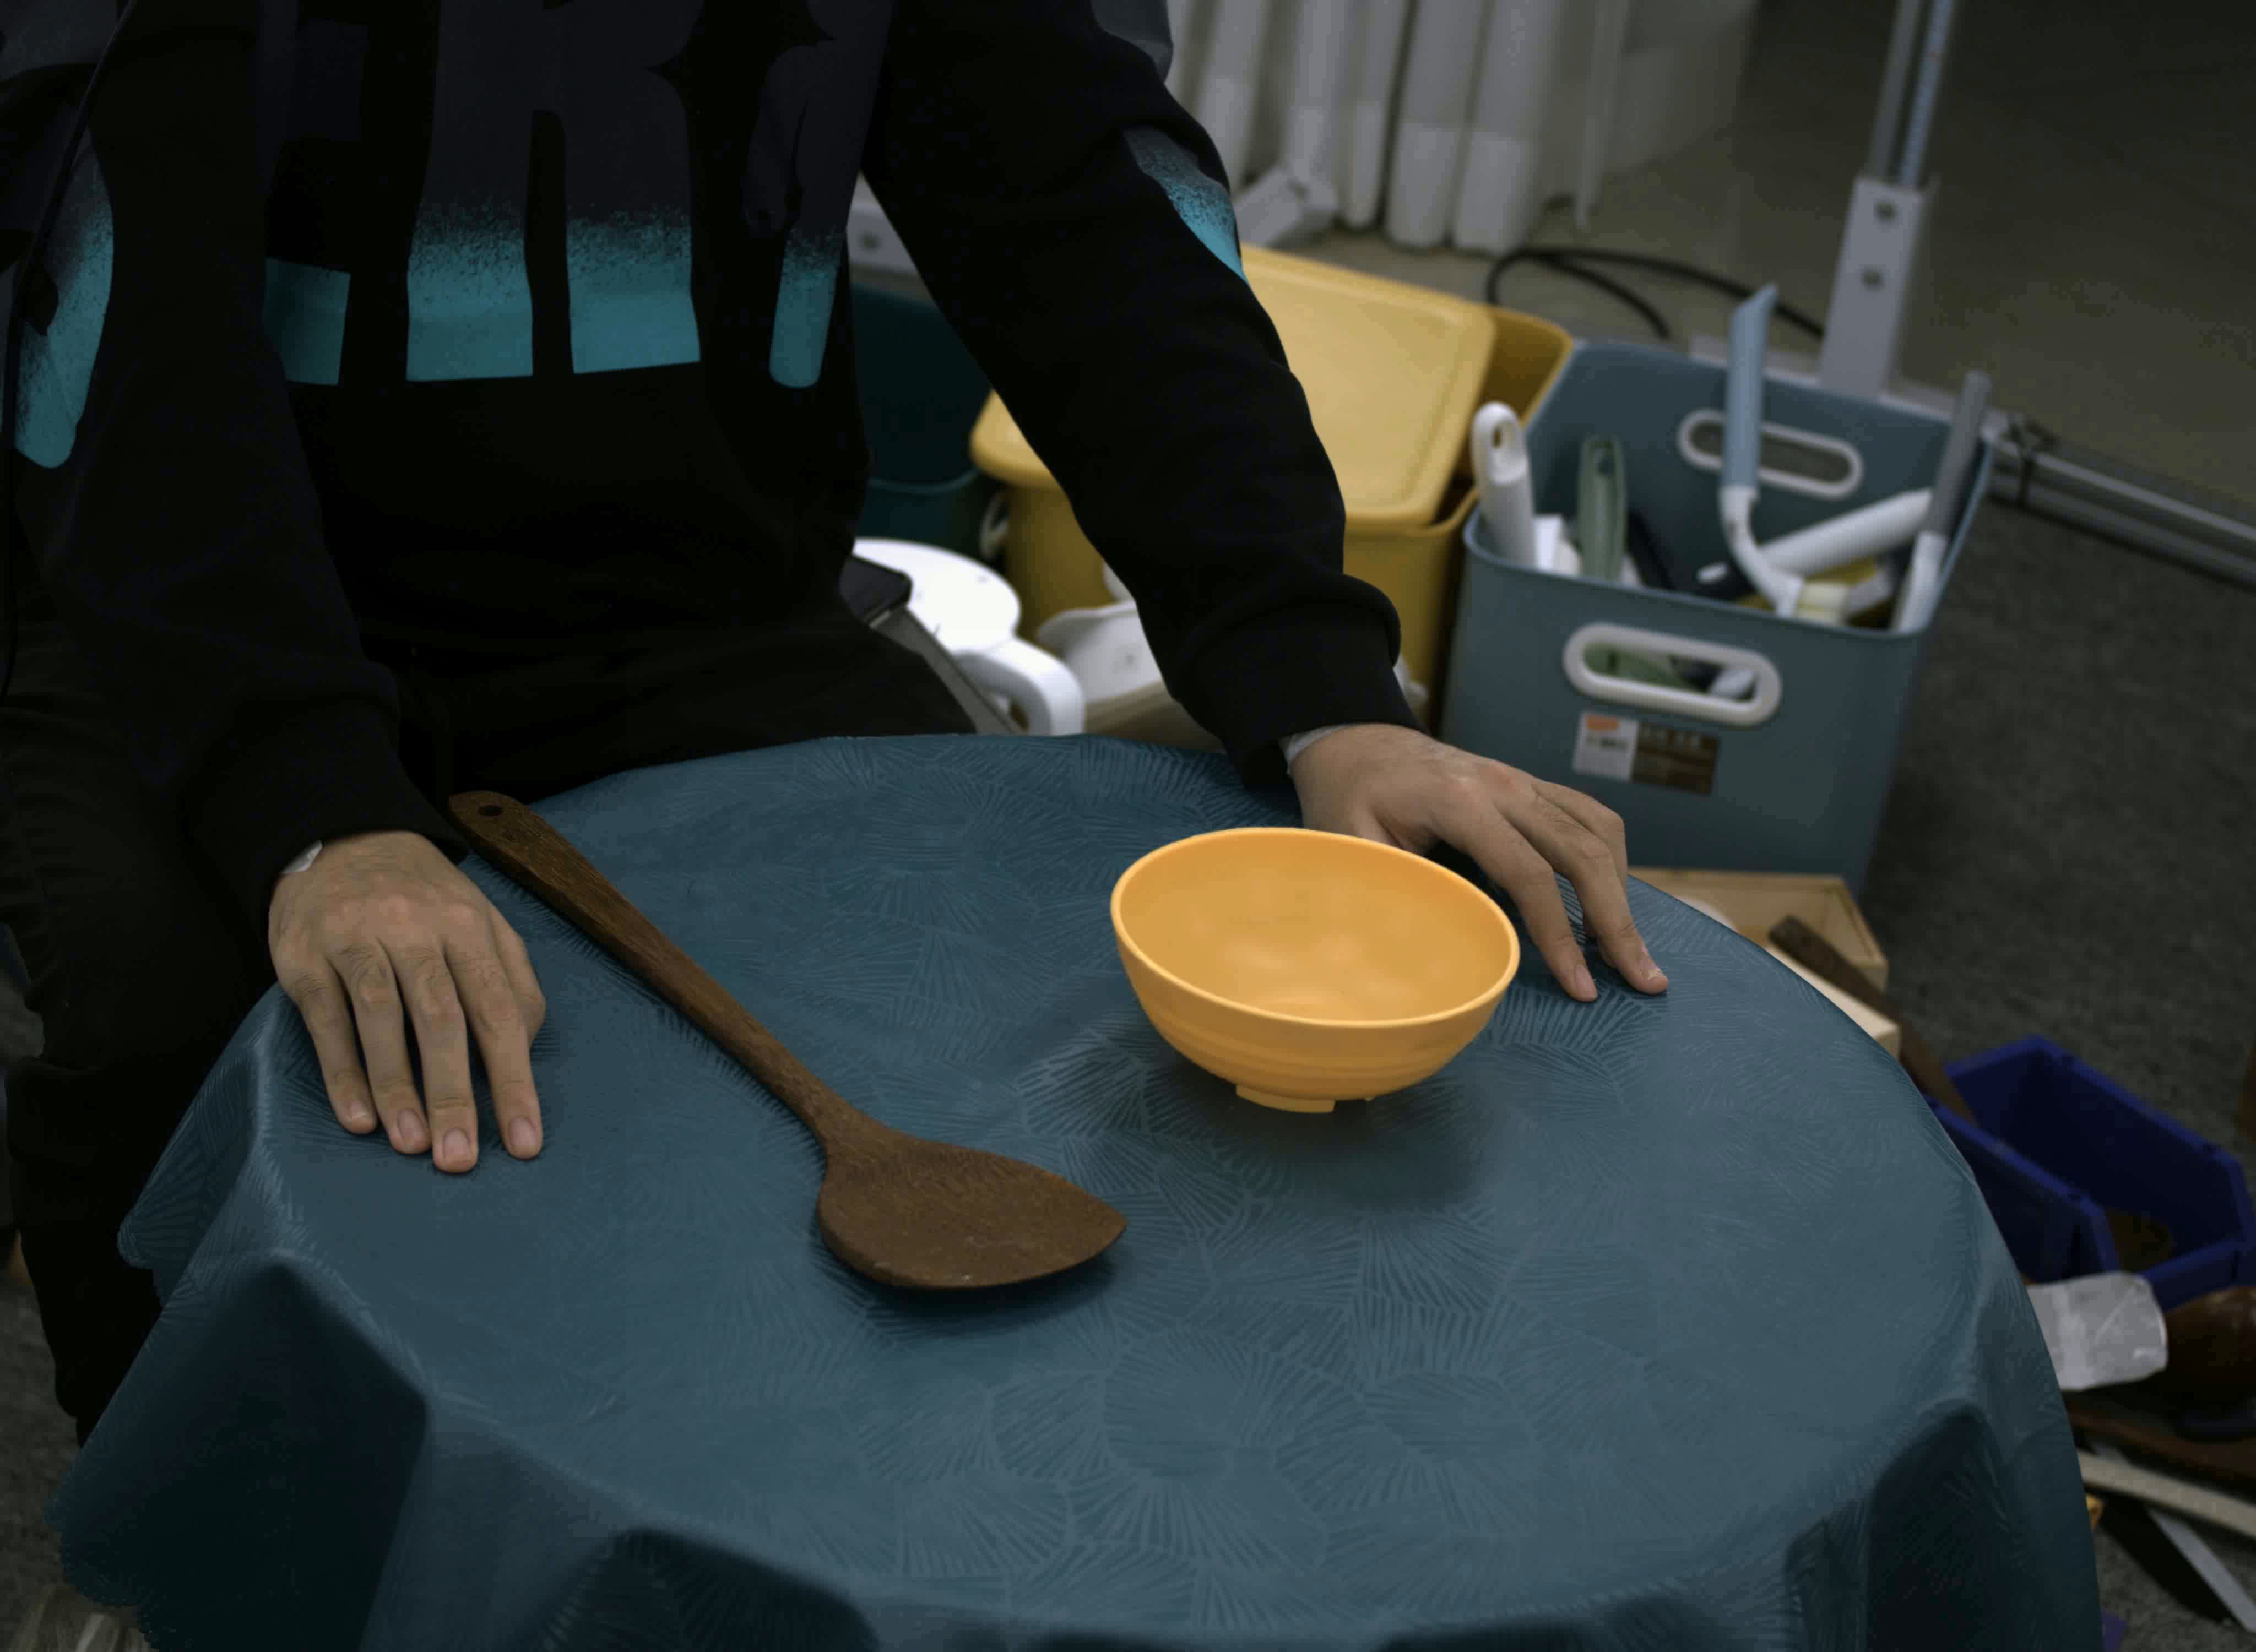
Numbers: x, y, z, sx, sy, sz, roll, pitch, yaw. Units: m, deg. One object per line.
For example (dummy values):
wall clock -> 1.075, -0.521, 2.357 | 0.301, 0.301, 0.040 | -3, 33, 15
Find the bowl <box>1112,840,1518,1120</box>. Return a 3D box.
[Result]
bowl -> 0.062, 0.062, 1.875 | 0.145, 0.060, 0.146 | 6, 24, -3

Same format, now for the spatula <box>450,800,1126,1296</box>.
spatula -> -0.139, 0.070, 1.862 | 0.095, 0.016, 0.389 | -12, 32, -33
